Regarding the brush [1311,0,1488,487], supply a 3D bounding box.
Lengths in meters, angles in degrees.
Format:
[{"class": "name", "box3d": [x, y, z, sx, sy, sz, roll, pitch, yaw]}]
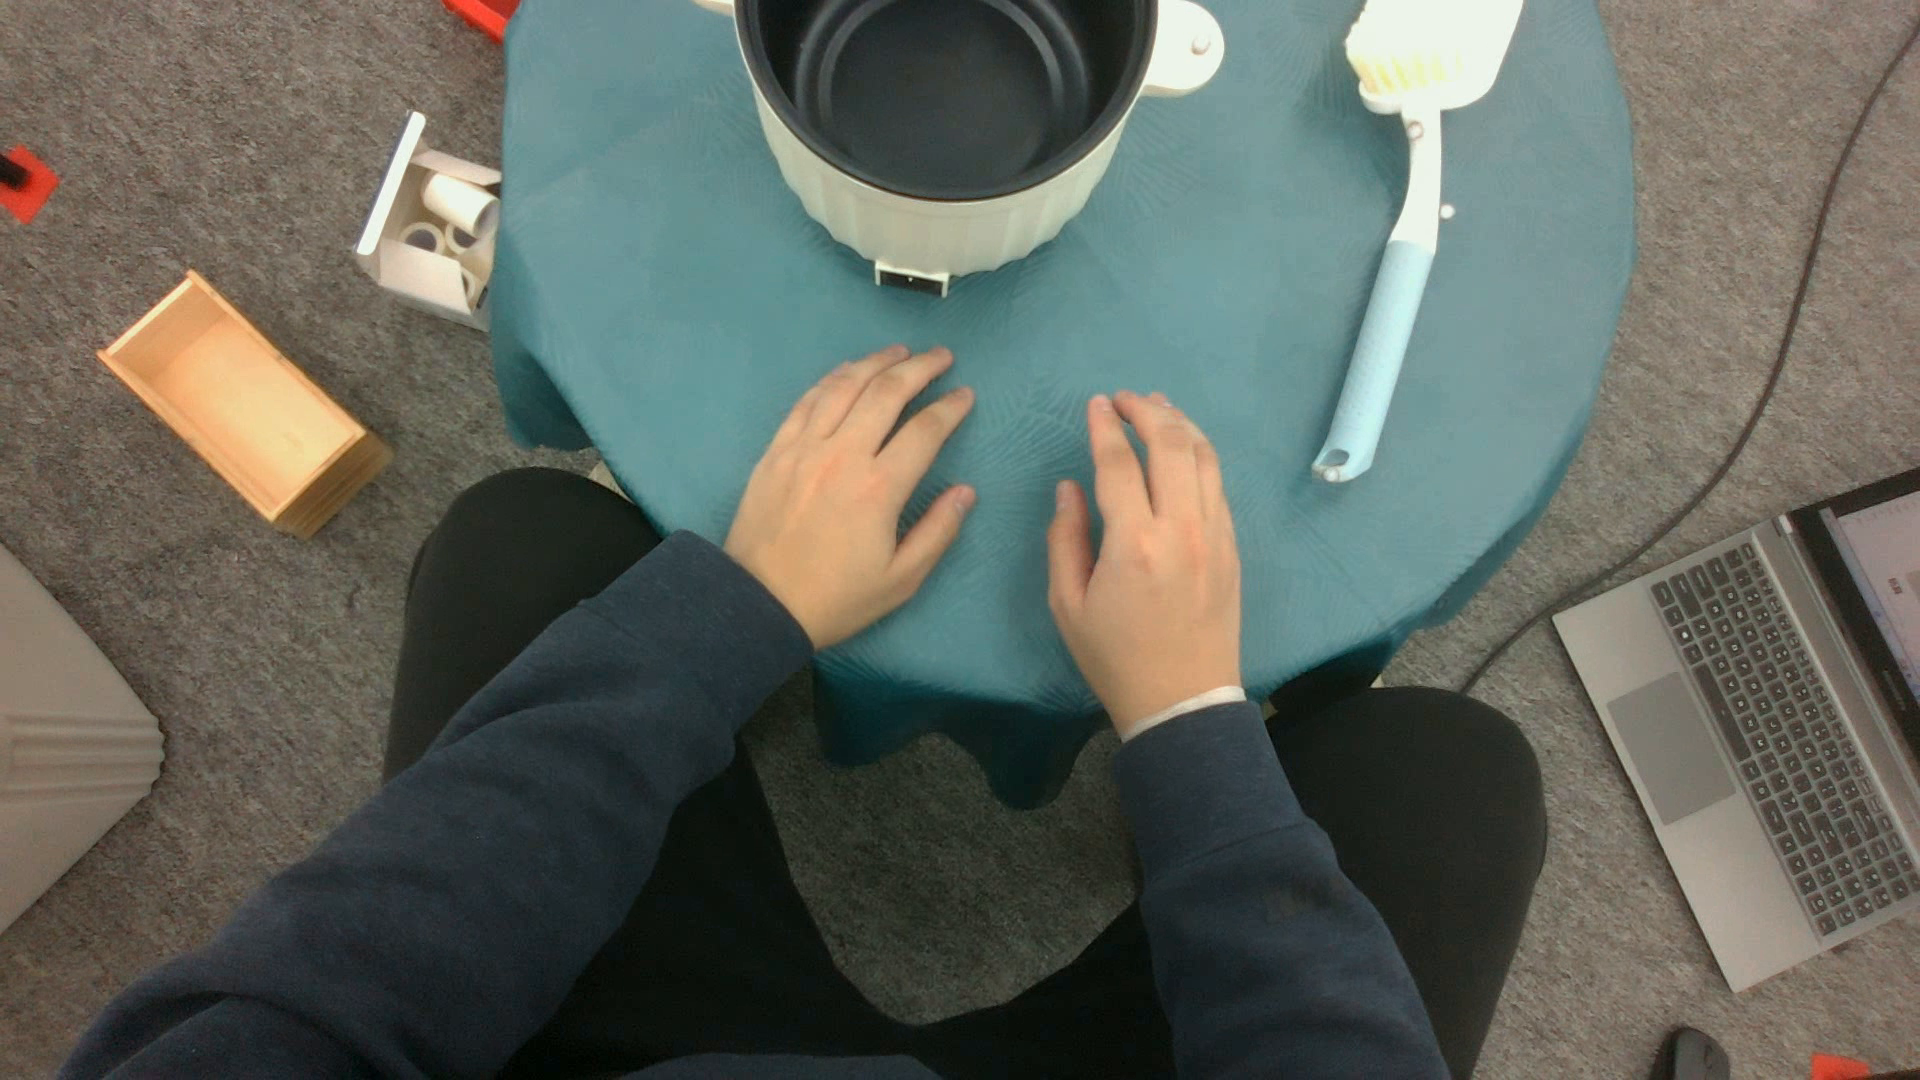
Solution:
[{"class": "brush", "box3d": [0.214, -0.188, 0.701, 0.084, 0.083, 0.326, 18, 78, -7]}]

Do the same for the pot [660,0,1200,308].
[{"class": "pot", "box3d": [-0.015, -0.222, 0.671, 0.240, 0.142, 0.190, 7, 84, -2]}]
